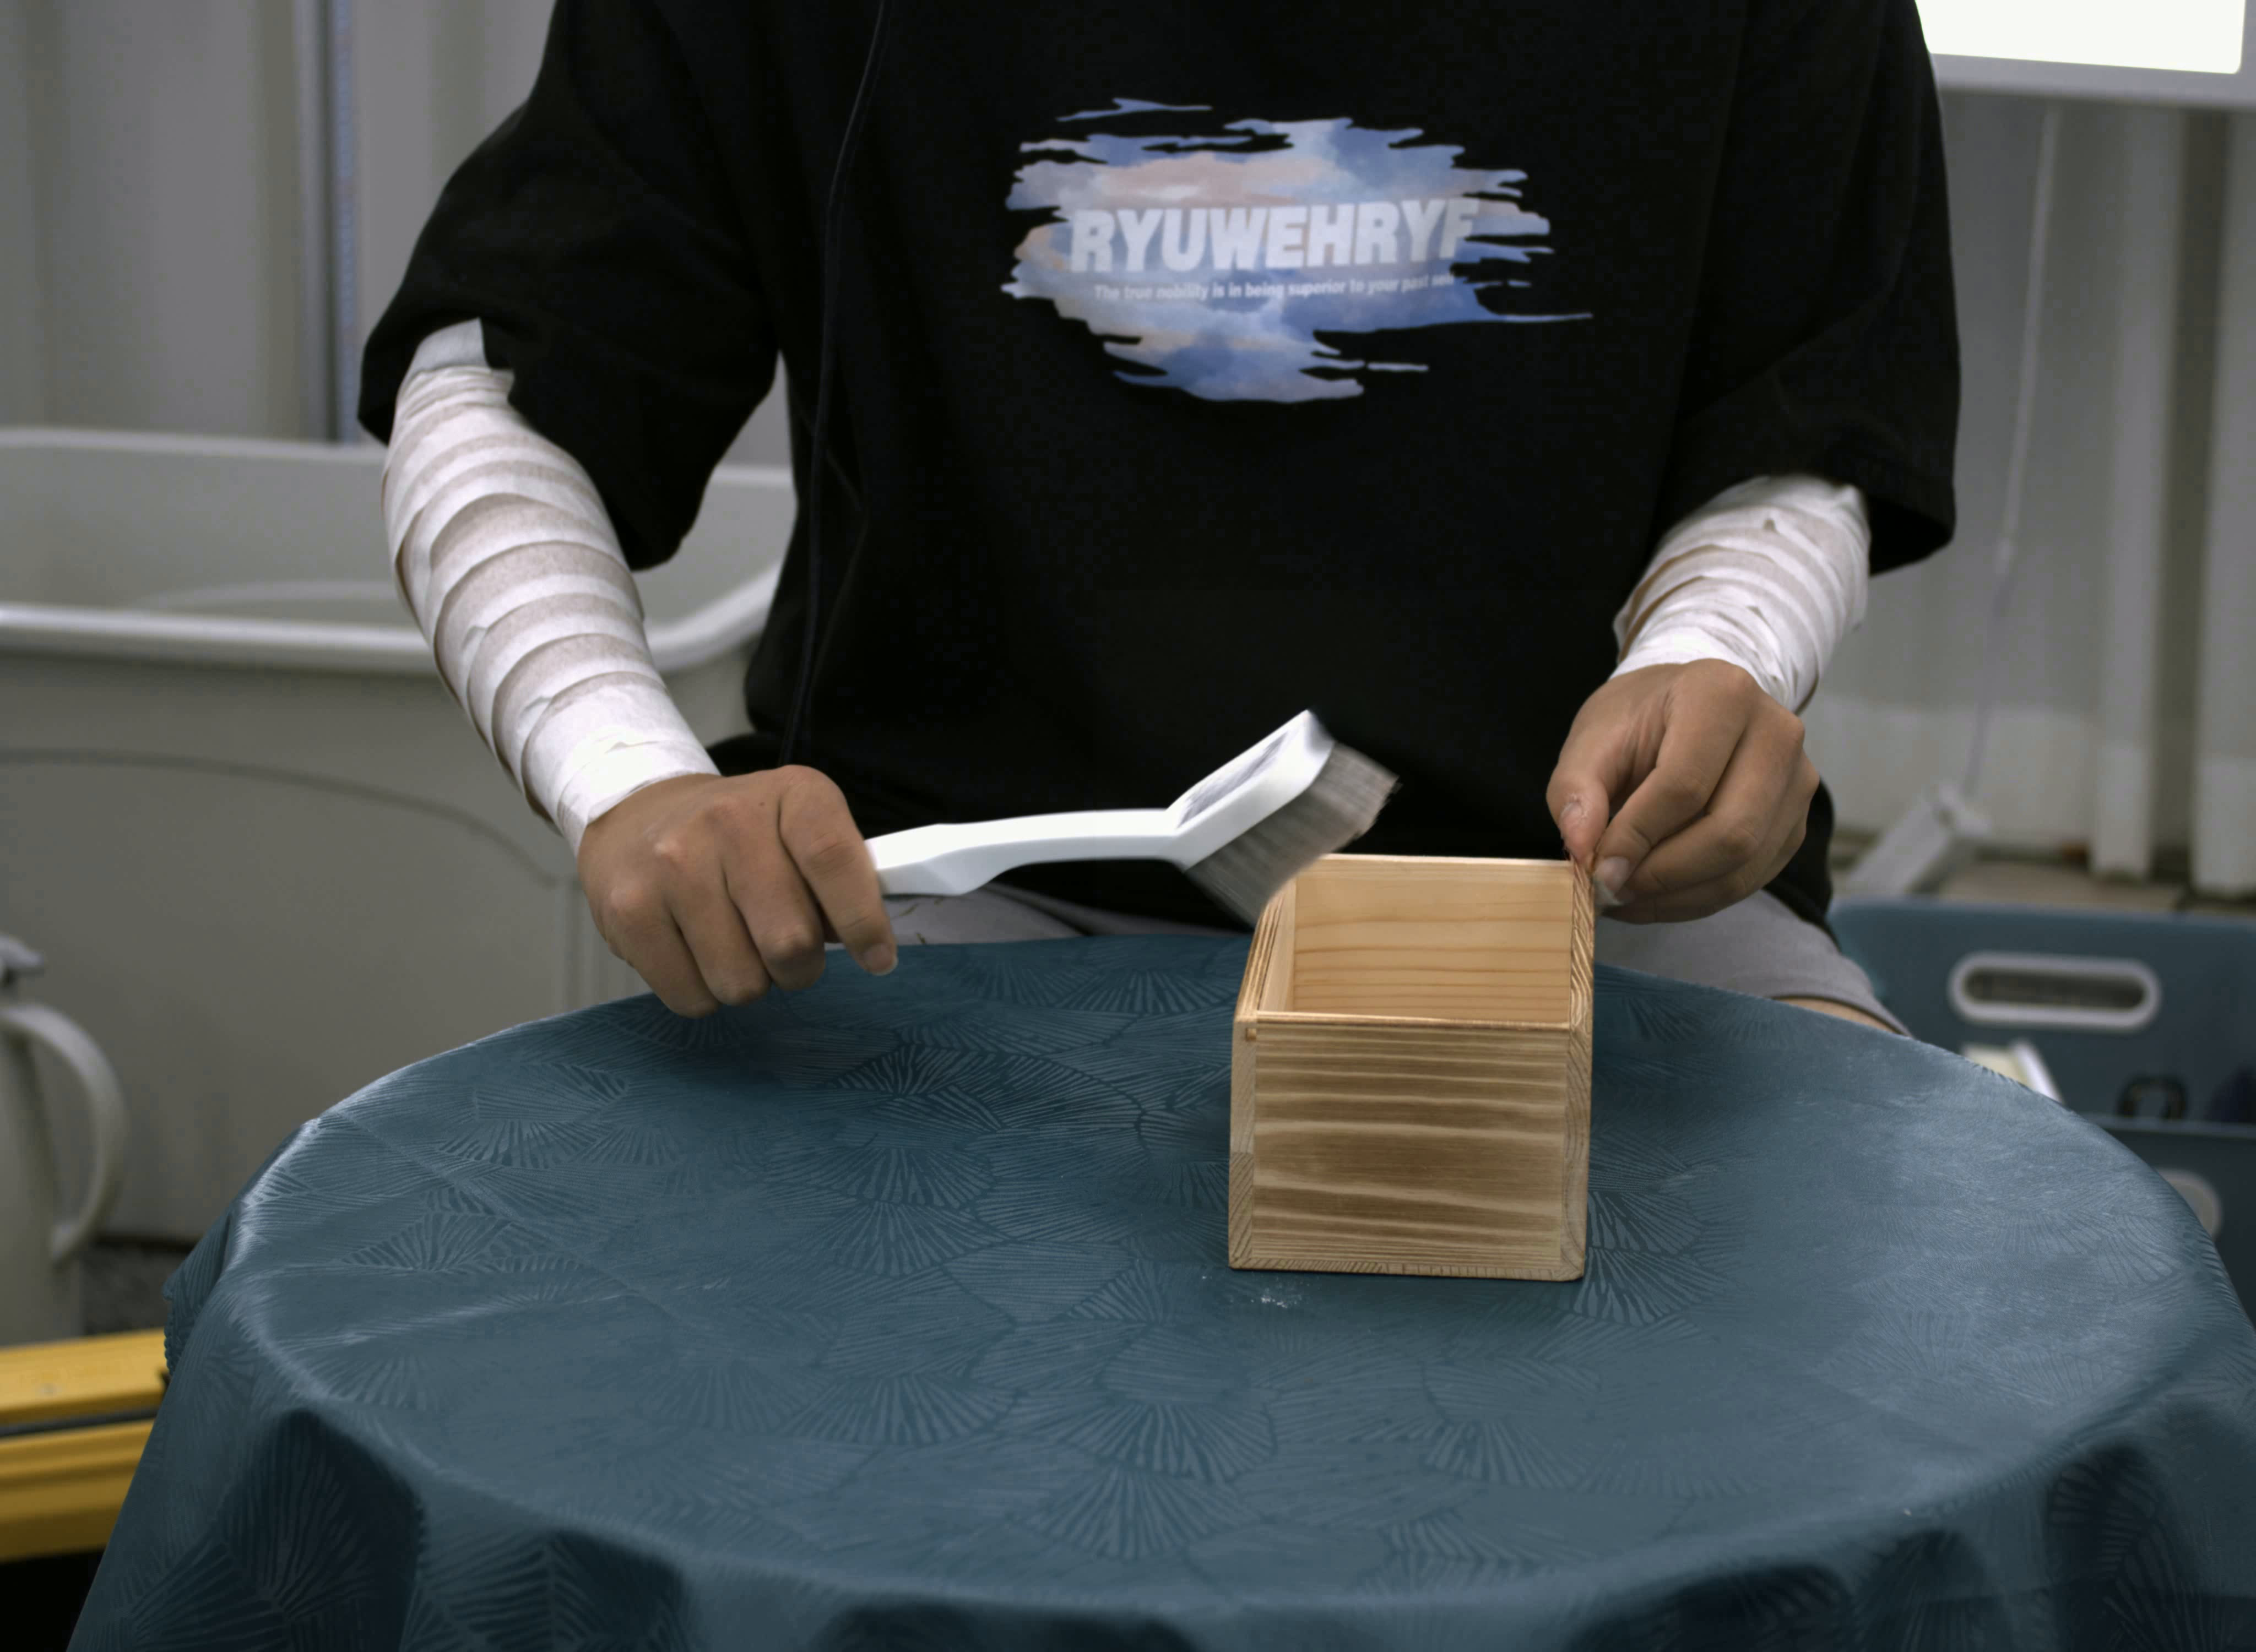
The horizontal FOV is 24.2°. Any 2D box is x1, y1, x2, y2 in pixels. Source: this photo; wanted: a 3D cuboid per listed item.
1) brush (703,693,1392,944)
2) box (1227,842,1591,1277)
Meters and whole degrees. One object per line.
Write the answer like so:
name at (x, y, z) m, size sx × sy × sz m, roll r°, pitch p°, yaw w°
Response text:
brush at (-0.027, 0.014, 1.691) m, size 0.242 × 0.051 × 0.034 m, roll -18°, pitch 27°, yaw 25°
box at (0.090, 0.068, 1.639) m, size 0.107 × 0.081 × 0.210 m, roll 2°, pitch 14°, yaw 4°
